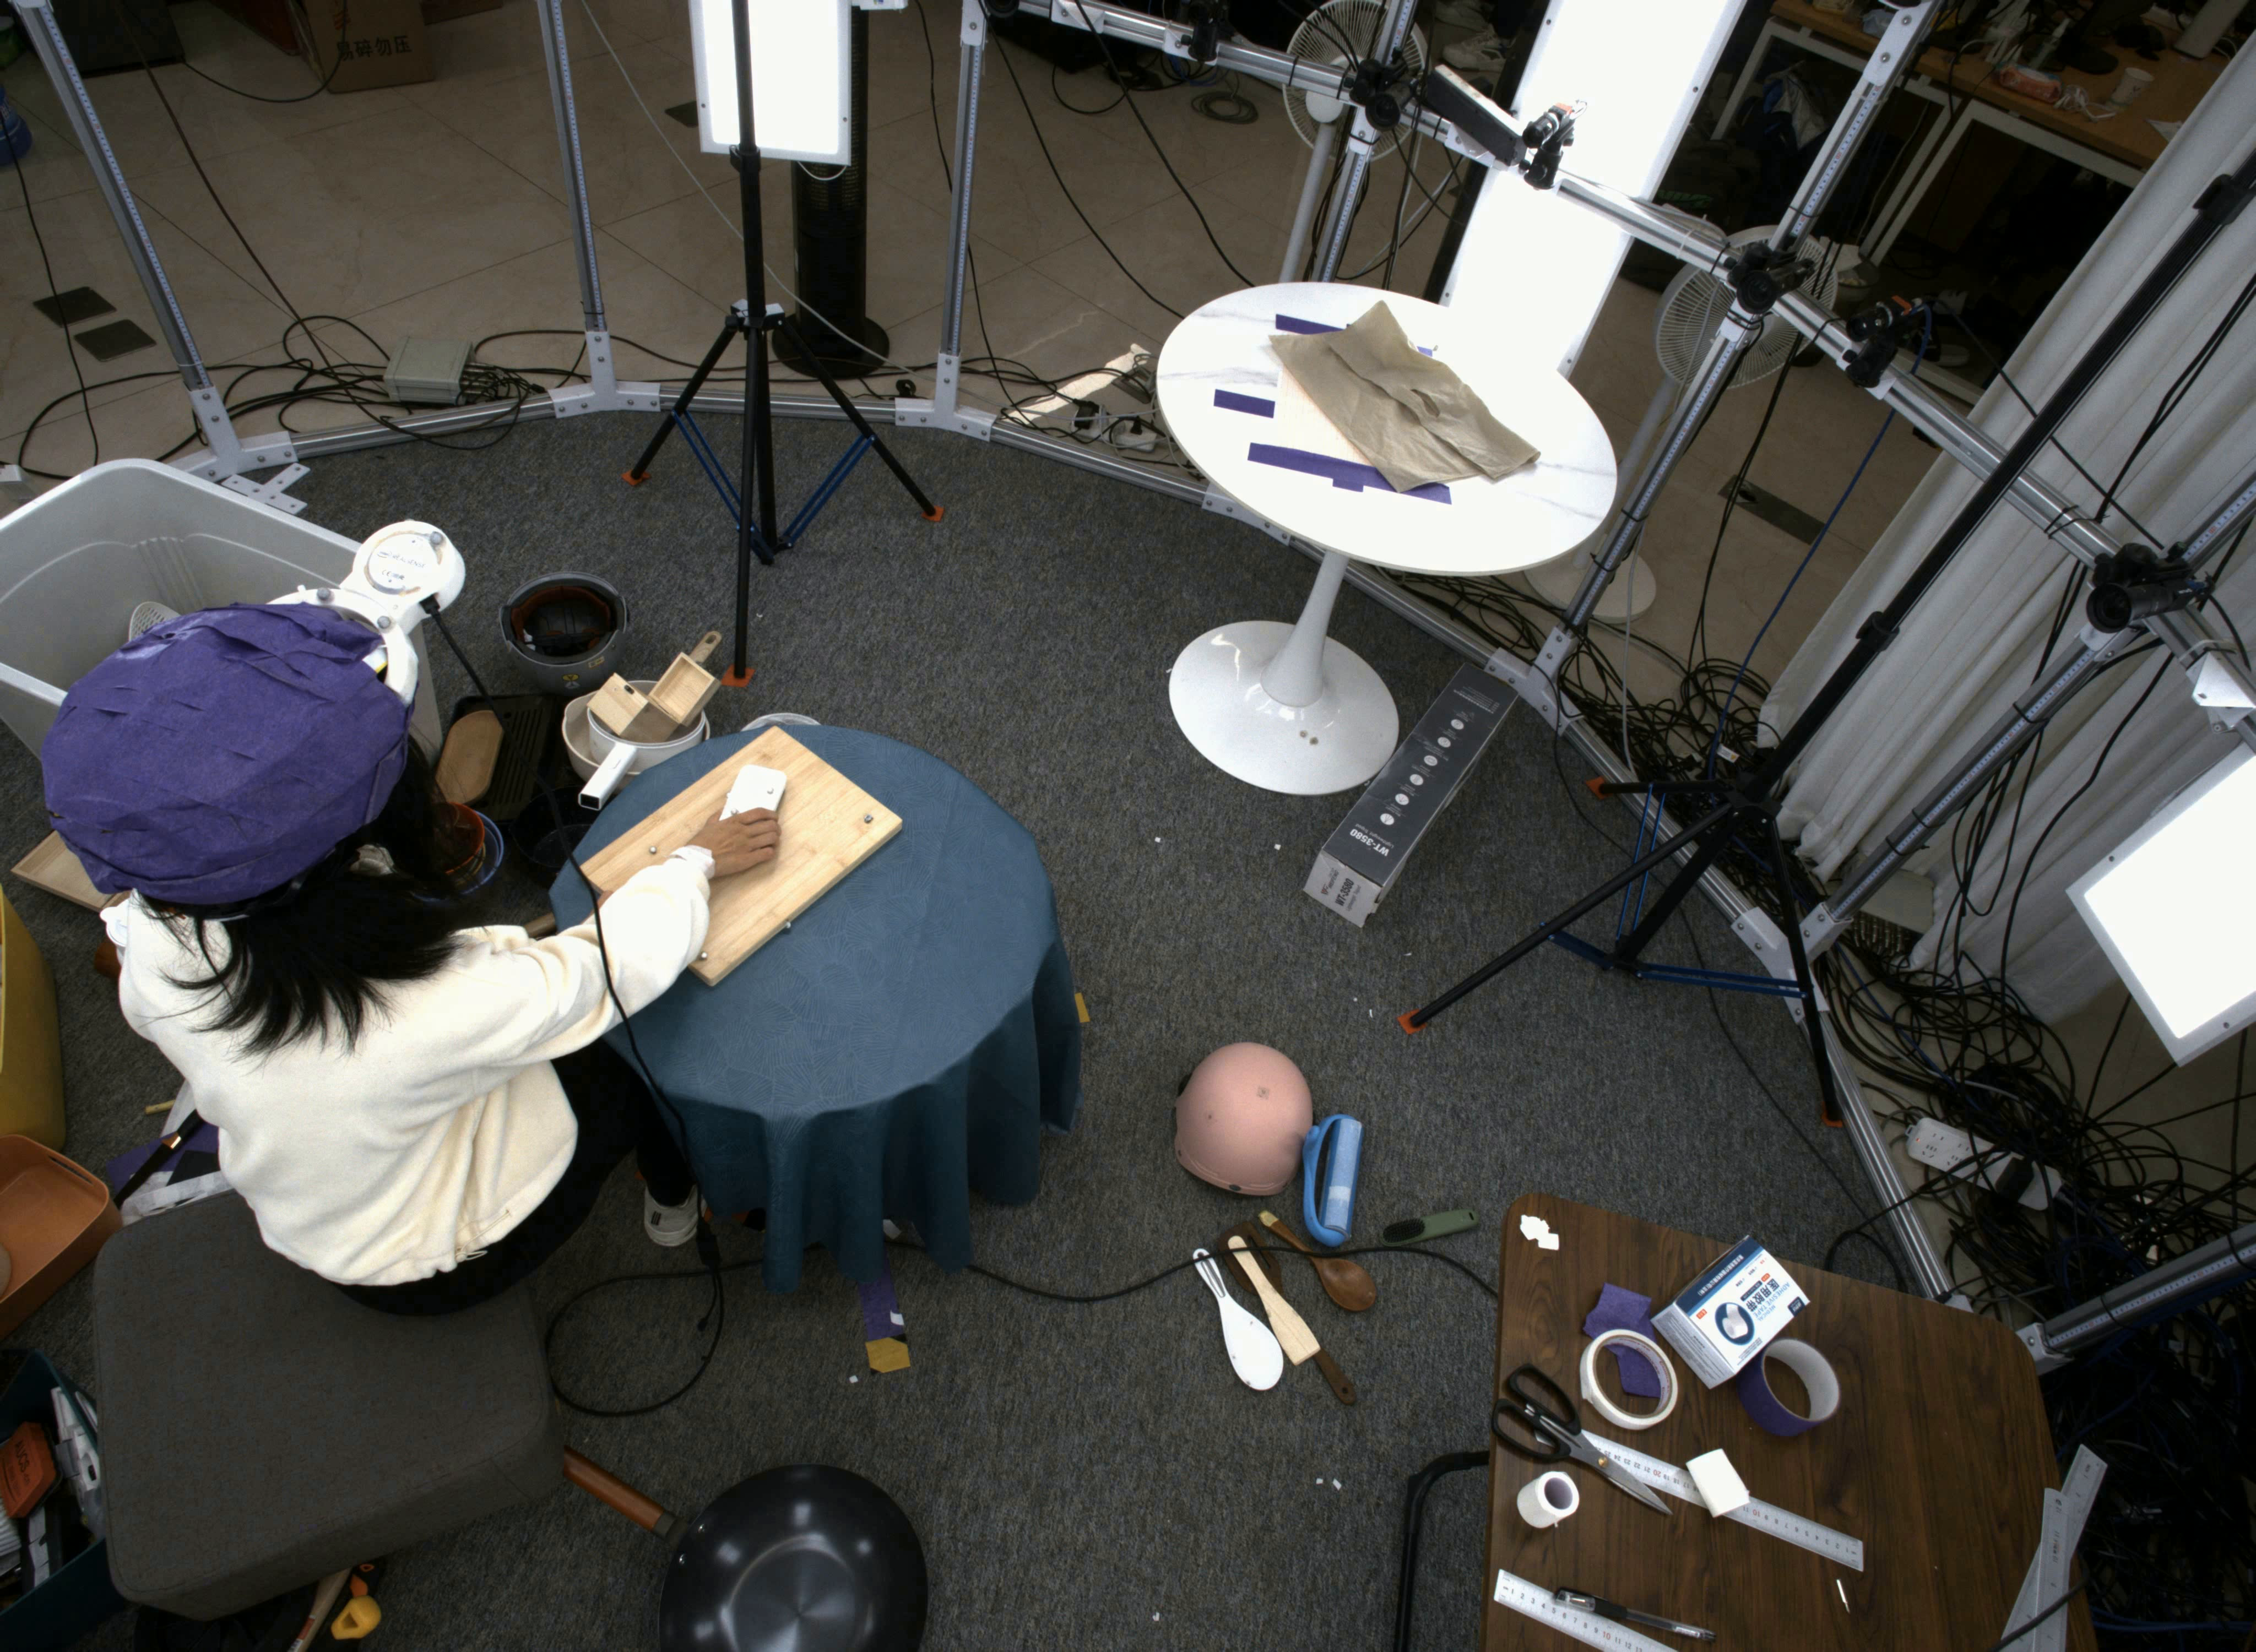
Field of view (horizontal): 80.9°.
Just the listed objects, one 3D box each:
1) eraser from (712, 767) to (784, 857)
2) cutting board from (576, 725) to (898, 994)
[{"bbox_3d":[-0.492,-0.022,1.674,0.063,0.035,0.129,14,51,-3],"label":"eraser"},{"bbox_3d":[-0.500,0.031,1.666,0.246,0.024,0.348,35,53,12],"label":"cutting board"}]
